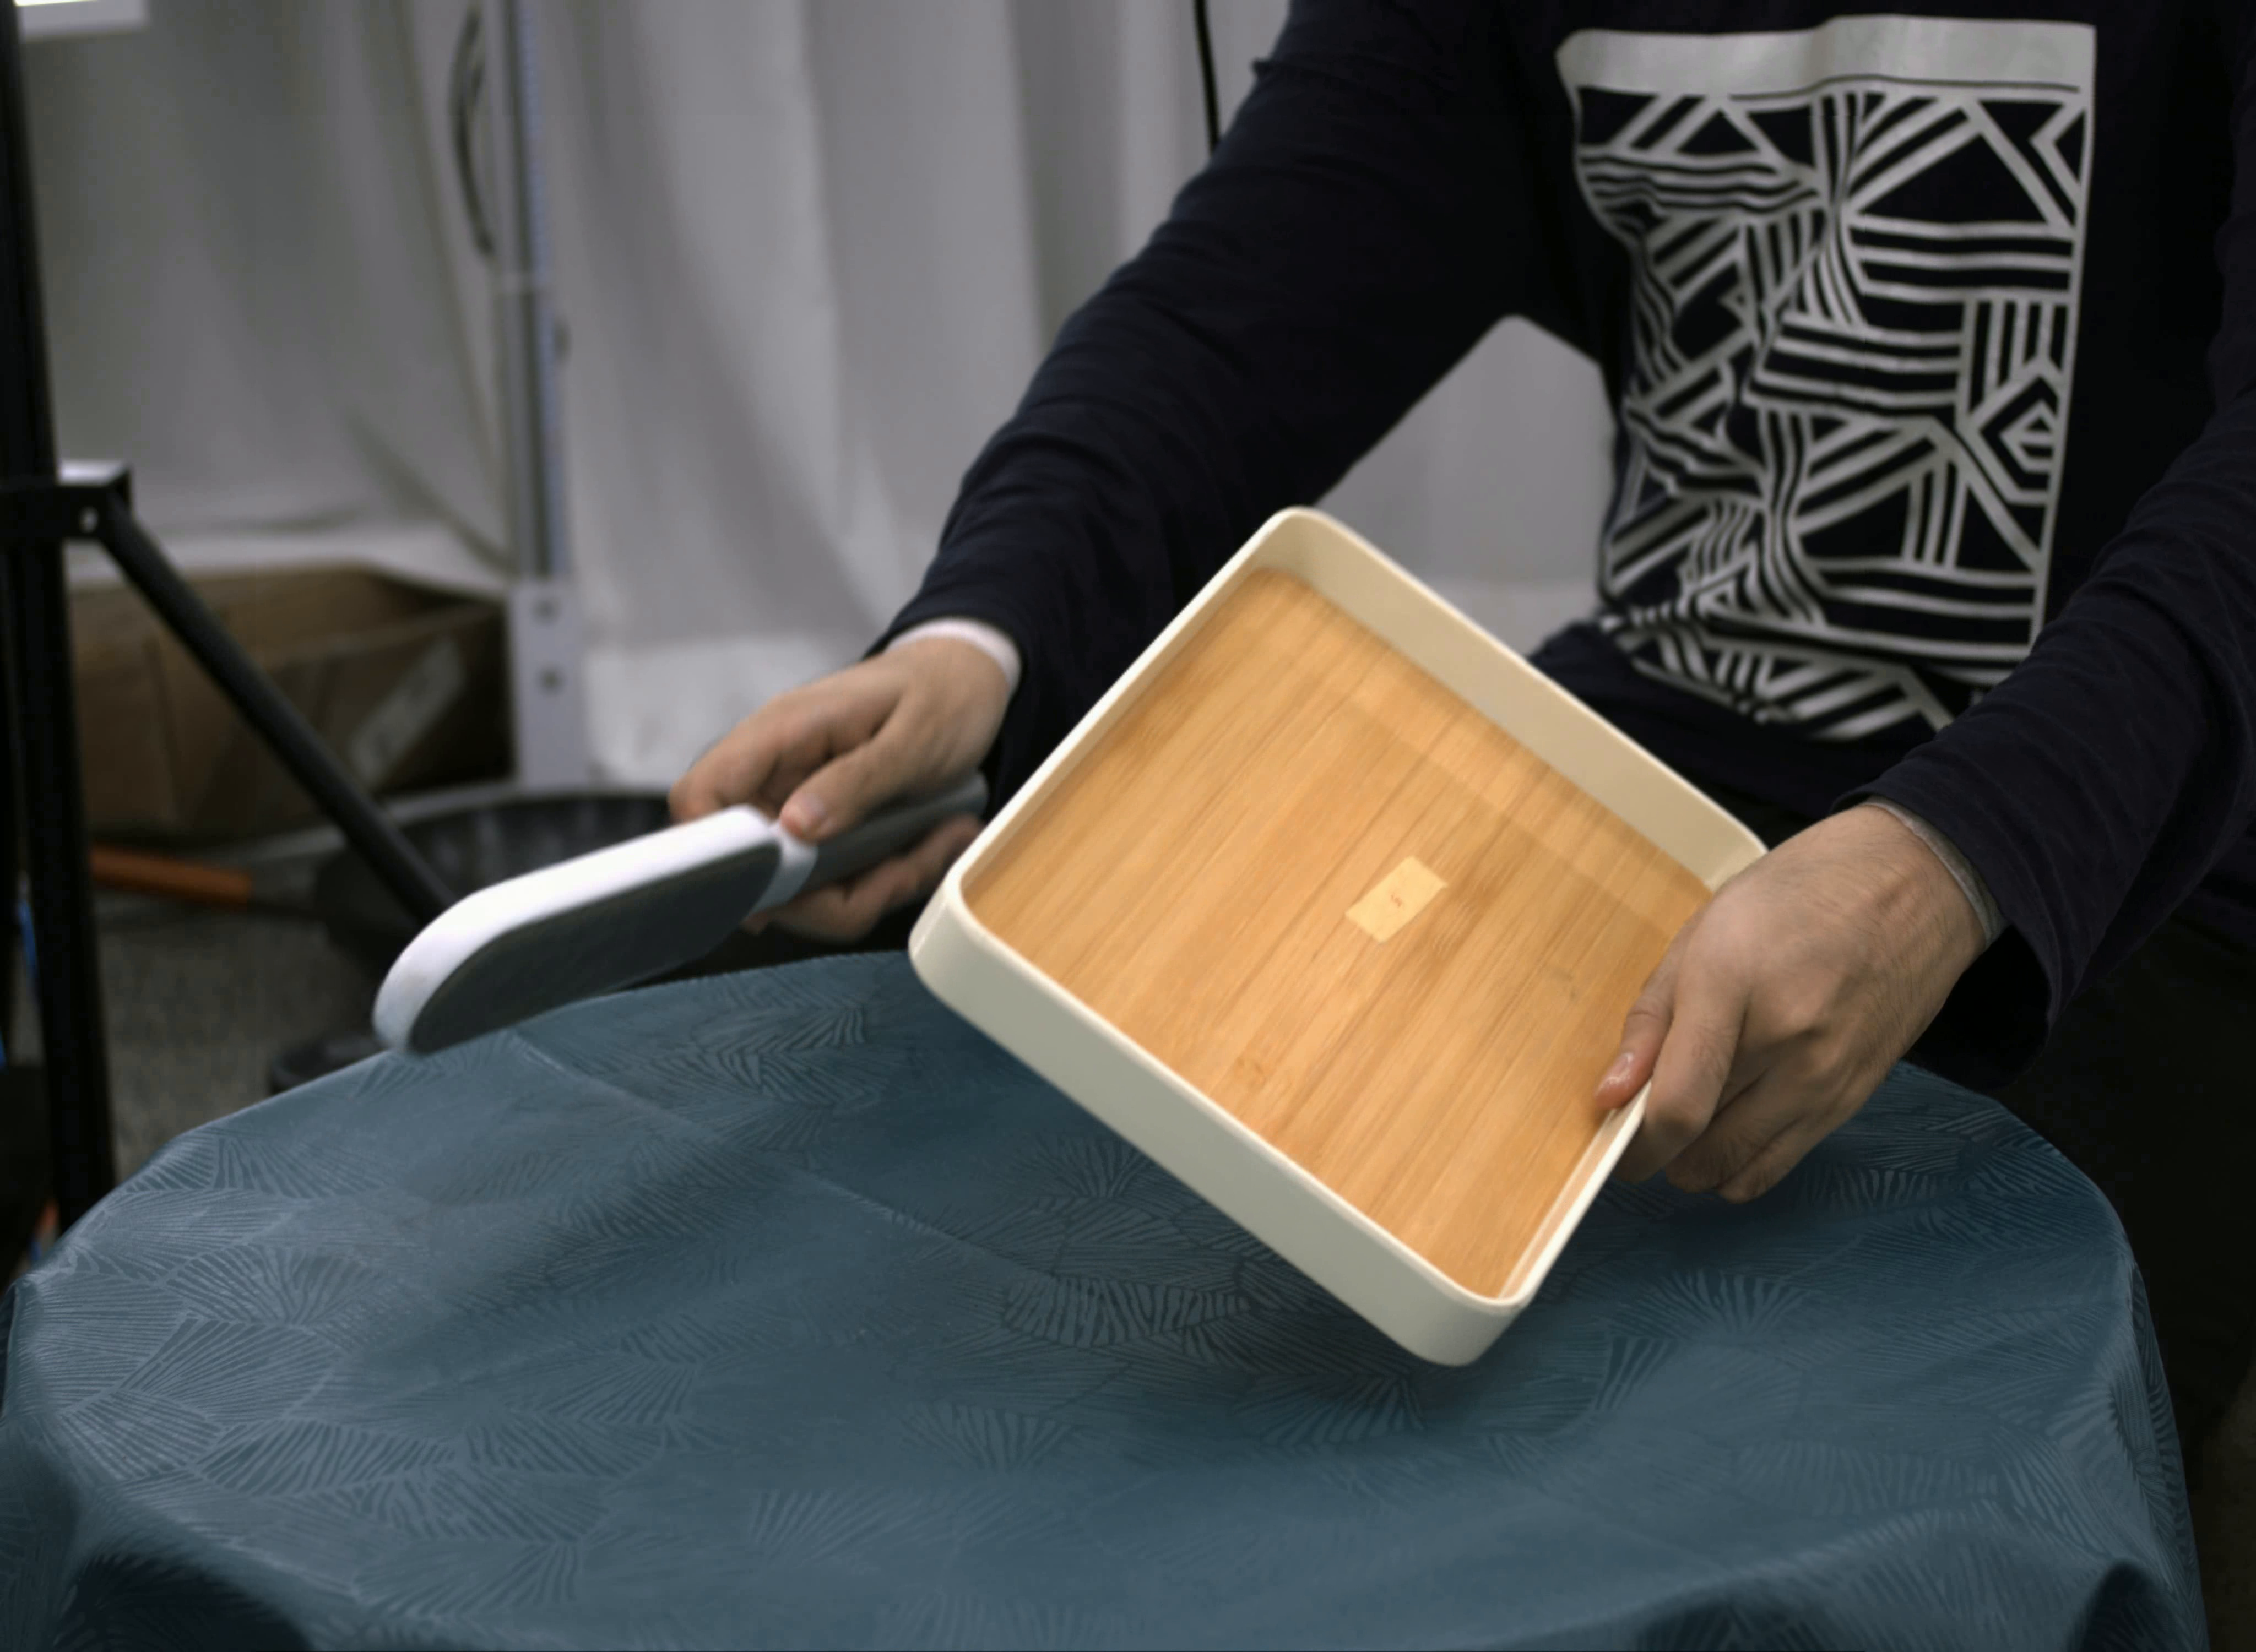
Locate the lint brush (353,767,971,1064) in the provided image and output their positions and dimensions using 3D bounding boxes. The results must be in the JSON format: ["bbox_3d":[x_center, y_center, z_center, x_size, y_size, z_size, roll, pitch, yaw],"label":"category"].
[{"bbox_3d":[-0.132,0.019,1.615,0.021,0.060,0.303,42,28,16],"label":"lint brush"}]

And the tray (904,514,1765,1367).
[{"bbox_3d":[0.067,0.024,1.499,0.192,0.027,0.297,37,31,4],"label":"tray"}]
